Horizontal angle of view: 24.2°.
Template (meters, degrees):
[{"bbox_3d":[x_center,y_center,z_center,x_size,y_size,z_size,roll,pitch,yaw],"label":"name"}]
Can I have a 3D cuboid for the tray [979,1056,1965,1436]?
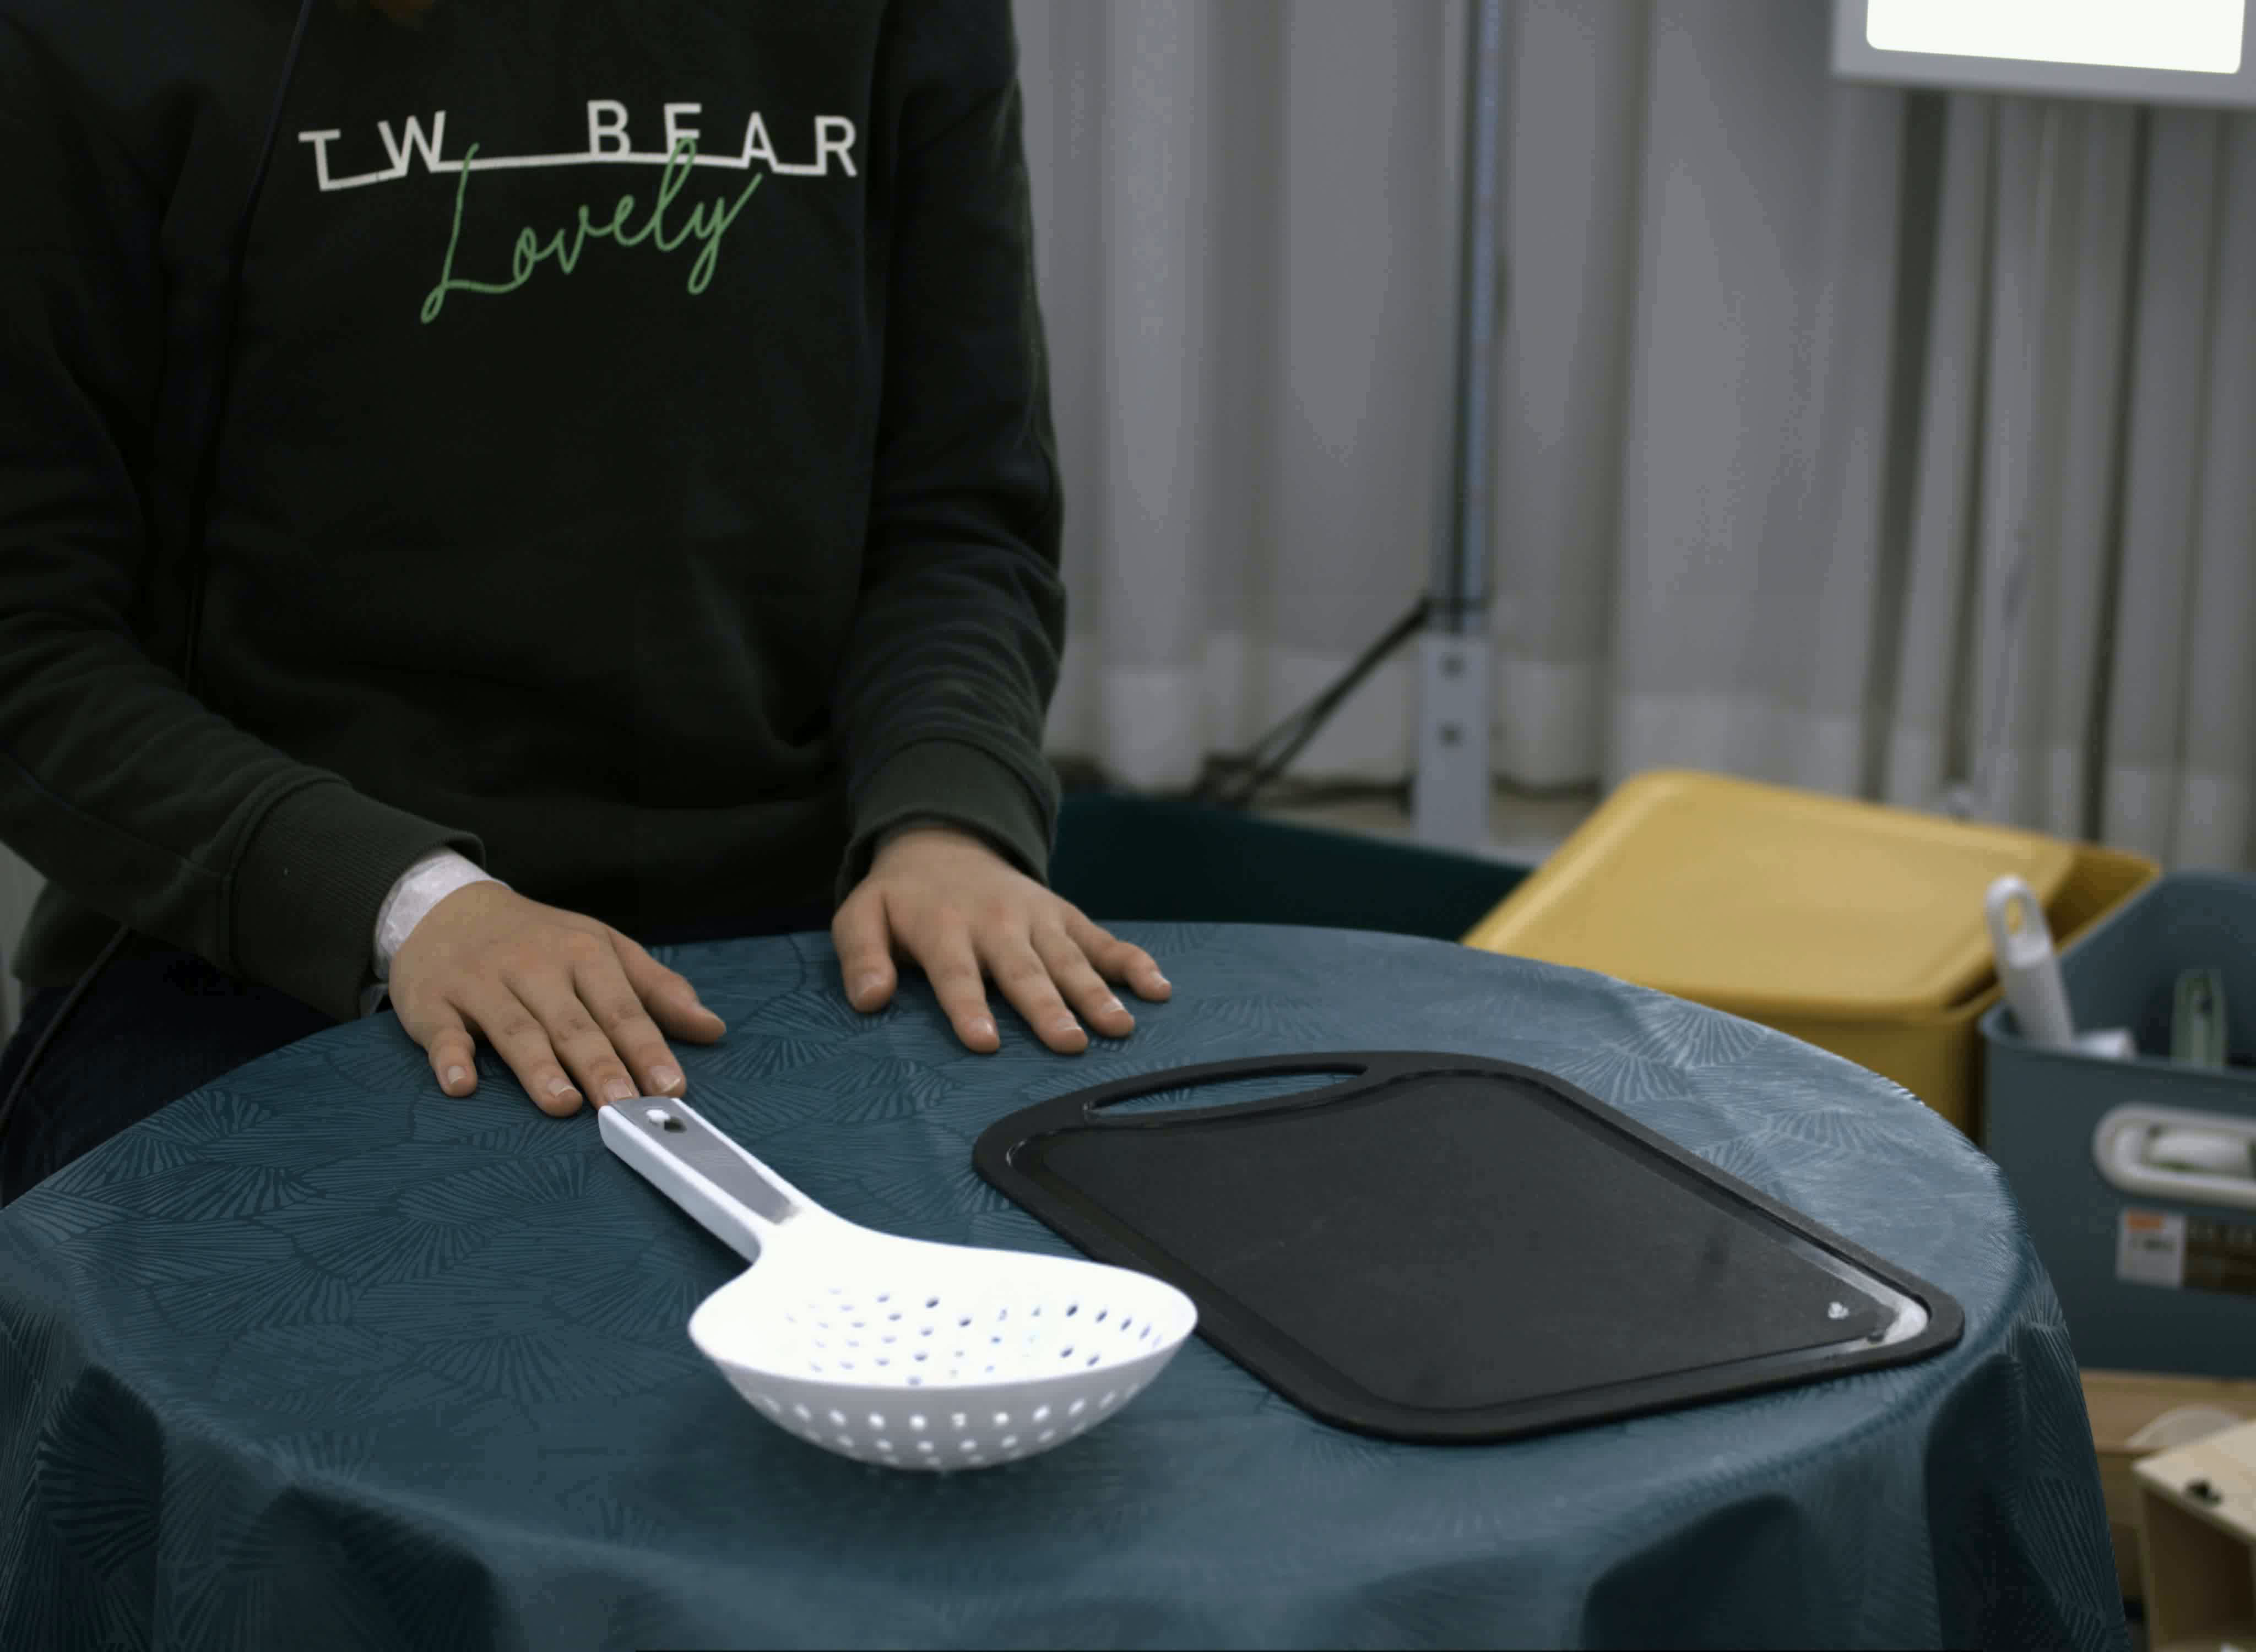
[{"bbox_3d":[0.093,0.119,1.595,0.212,0.010,0.321,-7,17,-25],"label":"tray"}]

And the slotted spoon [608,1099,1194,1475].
[{"bbox_3d":[-0.090,0.122,1.506,0.136,0.046,0.346,-3,15,-22],"label":"slotted spoon"}]
